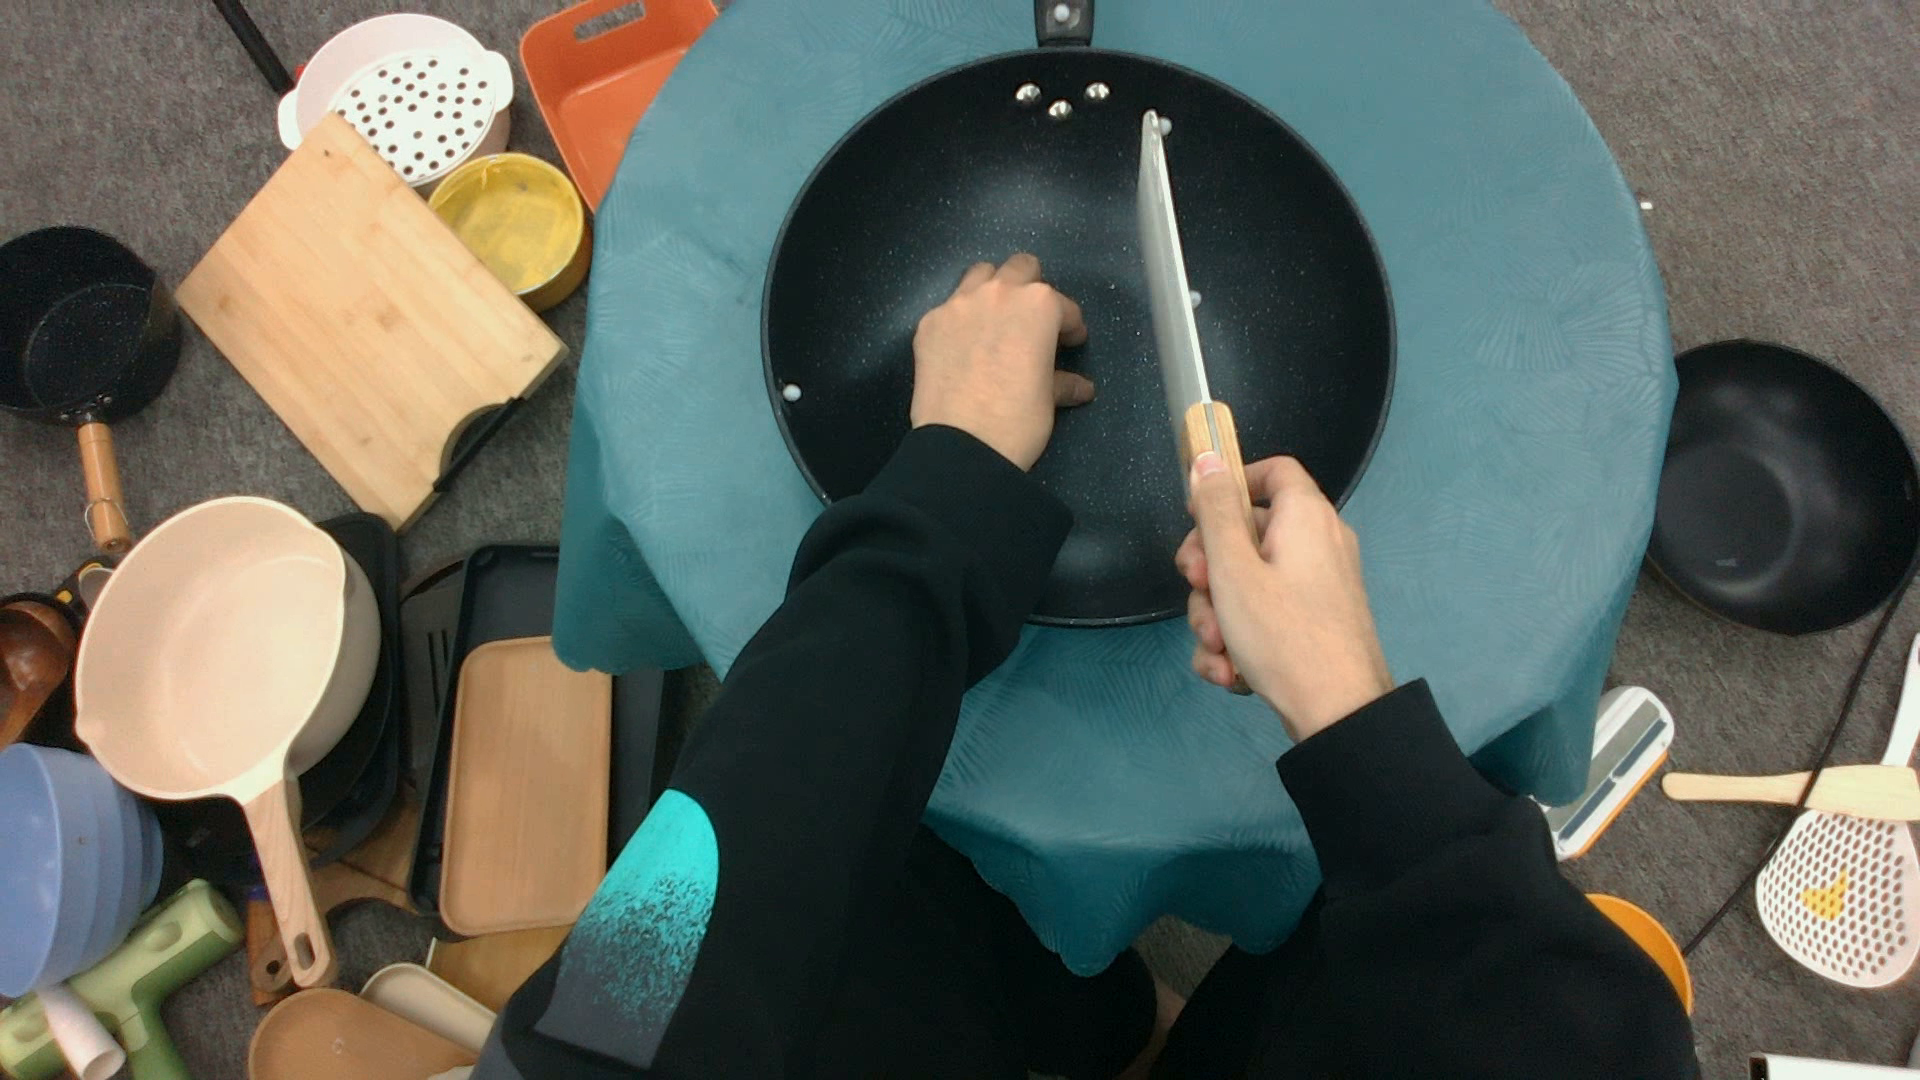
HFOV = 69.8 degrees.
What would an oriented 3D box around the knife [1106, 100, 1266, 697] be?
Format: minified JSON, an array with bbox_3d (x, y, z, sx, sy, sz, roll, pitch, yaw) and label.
[{"bbox_3d":[0.097,-0.073,0.645,0.022,0.113,0.316,-8,59,0],"label":"knife"}]

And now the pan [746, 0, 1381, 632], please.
[{"bbox_3d":[0.047,-0.178,0.720,0.310,0.111,0.478,-1,73,-4],"label":"pan"}]
